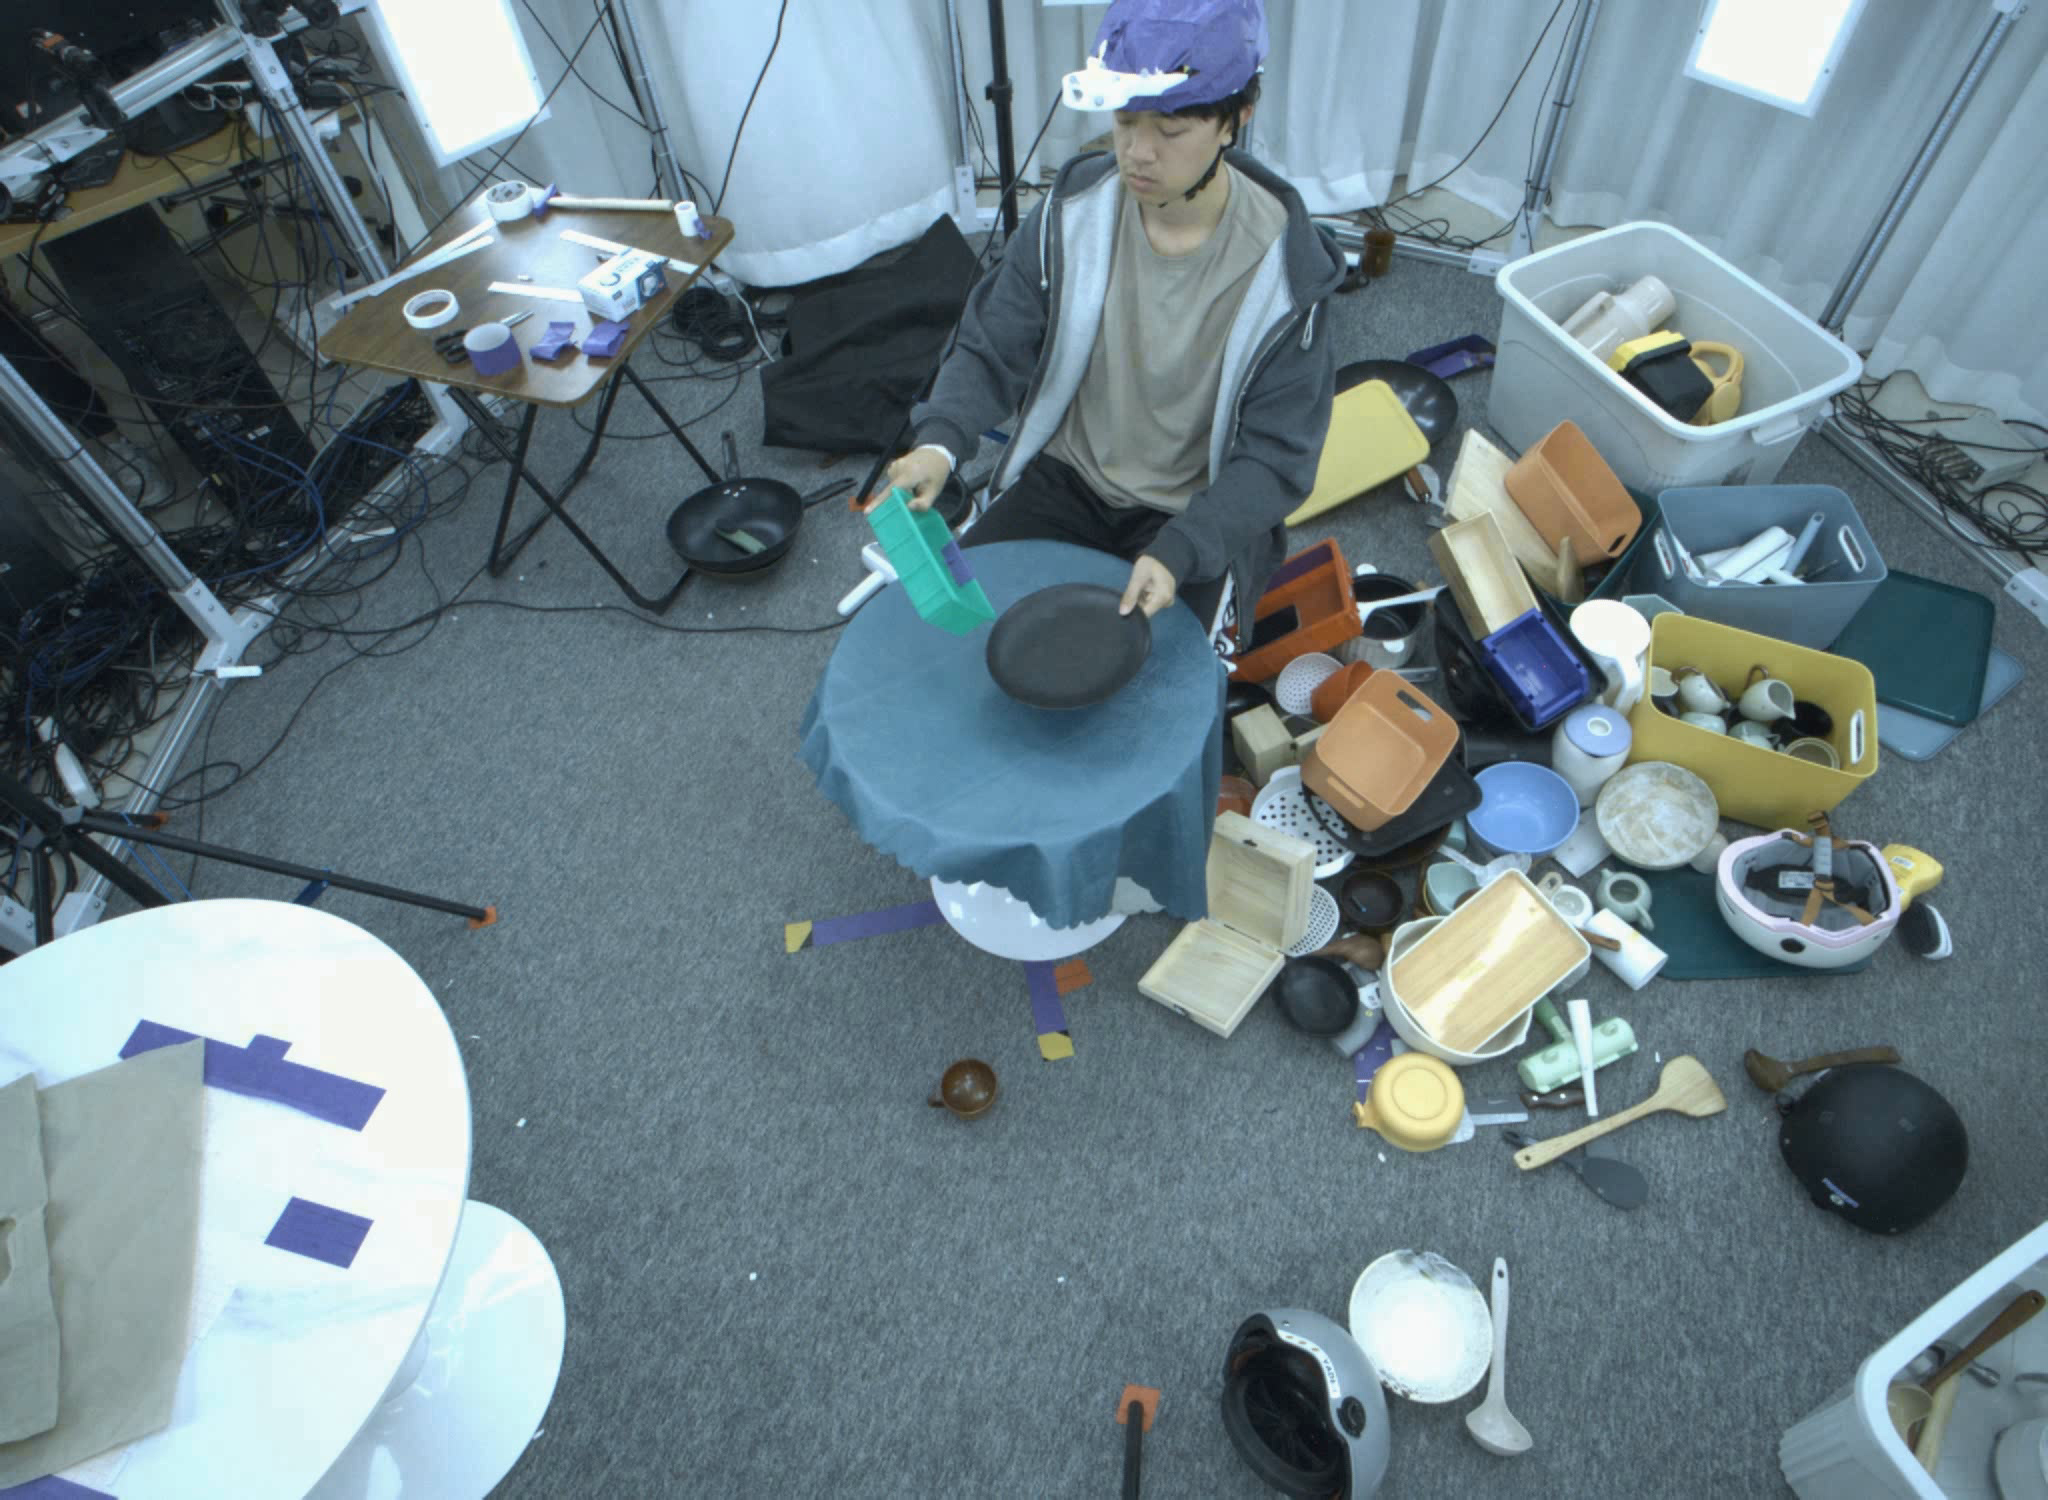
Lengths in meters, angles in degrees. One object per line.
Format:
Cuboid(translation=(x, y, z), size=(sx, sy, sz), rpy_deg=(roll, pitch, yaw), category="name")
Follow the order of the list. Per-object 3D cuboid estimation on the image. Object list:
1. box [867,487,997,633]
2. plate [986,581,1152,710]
Cuboid(translation=(-0.134, -0.262, 1.719), size=(0.065, 0.141, 0.208), rpy_deg=(-35, 74, 14), category="box")
Cuboid(translation=(0.065, -0.149, 1.785), size=(0.243, 0.024, 0.242), rpy_deg=(-4, 54, 7), category="plate")
